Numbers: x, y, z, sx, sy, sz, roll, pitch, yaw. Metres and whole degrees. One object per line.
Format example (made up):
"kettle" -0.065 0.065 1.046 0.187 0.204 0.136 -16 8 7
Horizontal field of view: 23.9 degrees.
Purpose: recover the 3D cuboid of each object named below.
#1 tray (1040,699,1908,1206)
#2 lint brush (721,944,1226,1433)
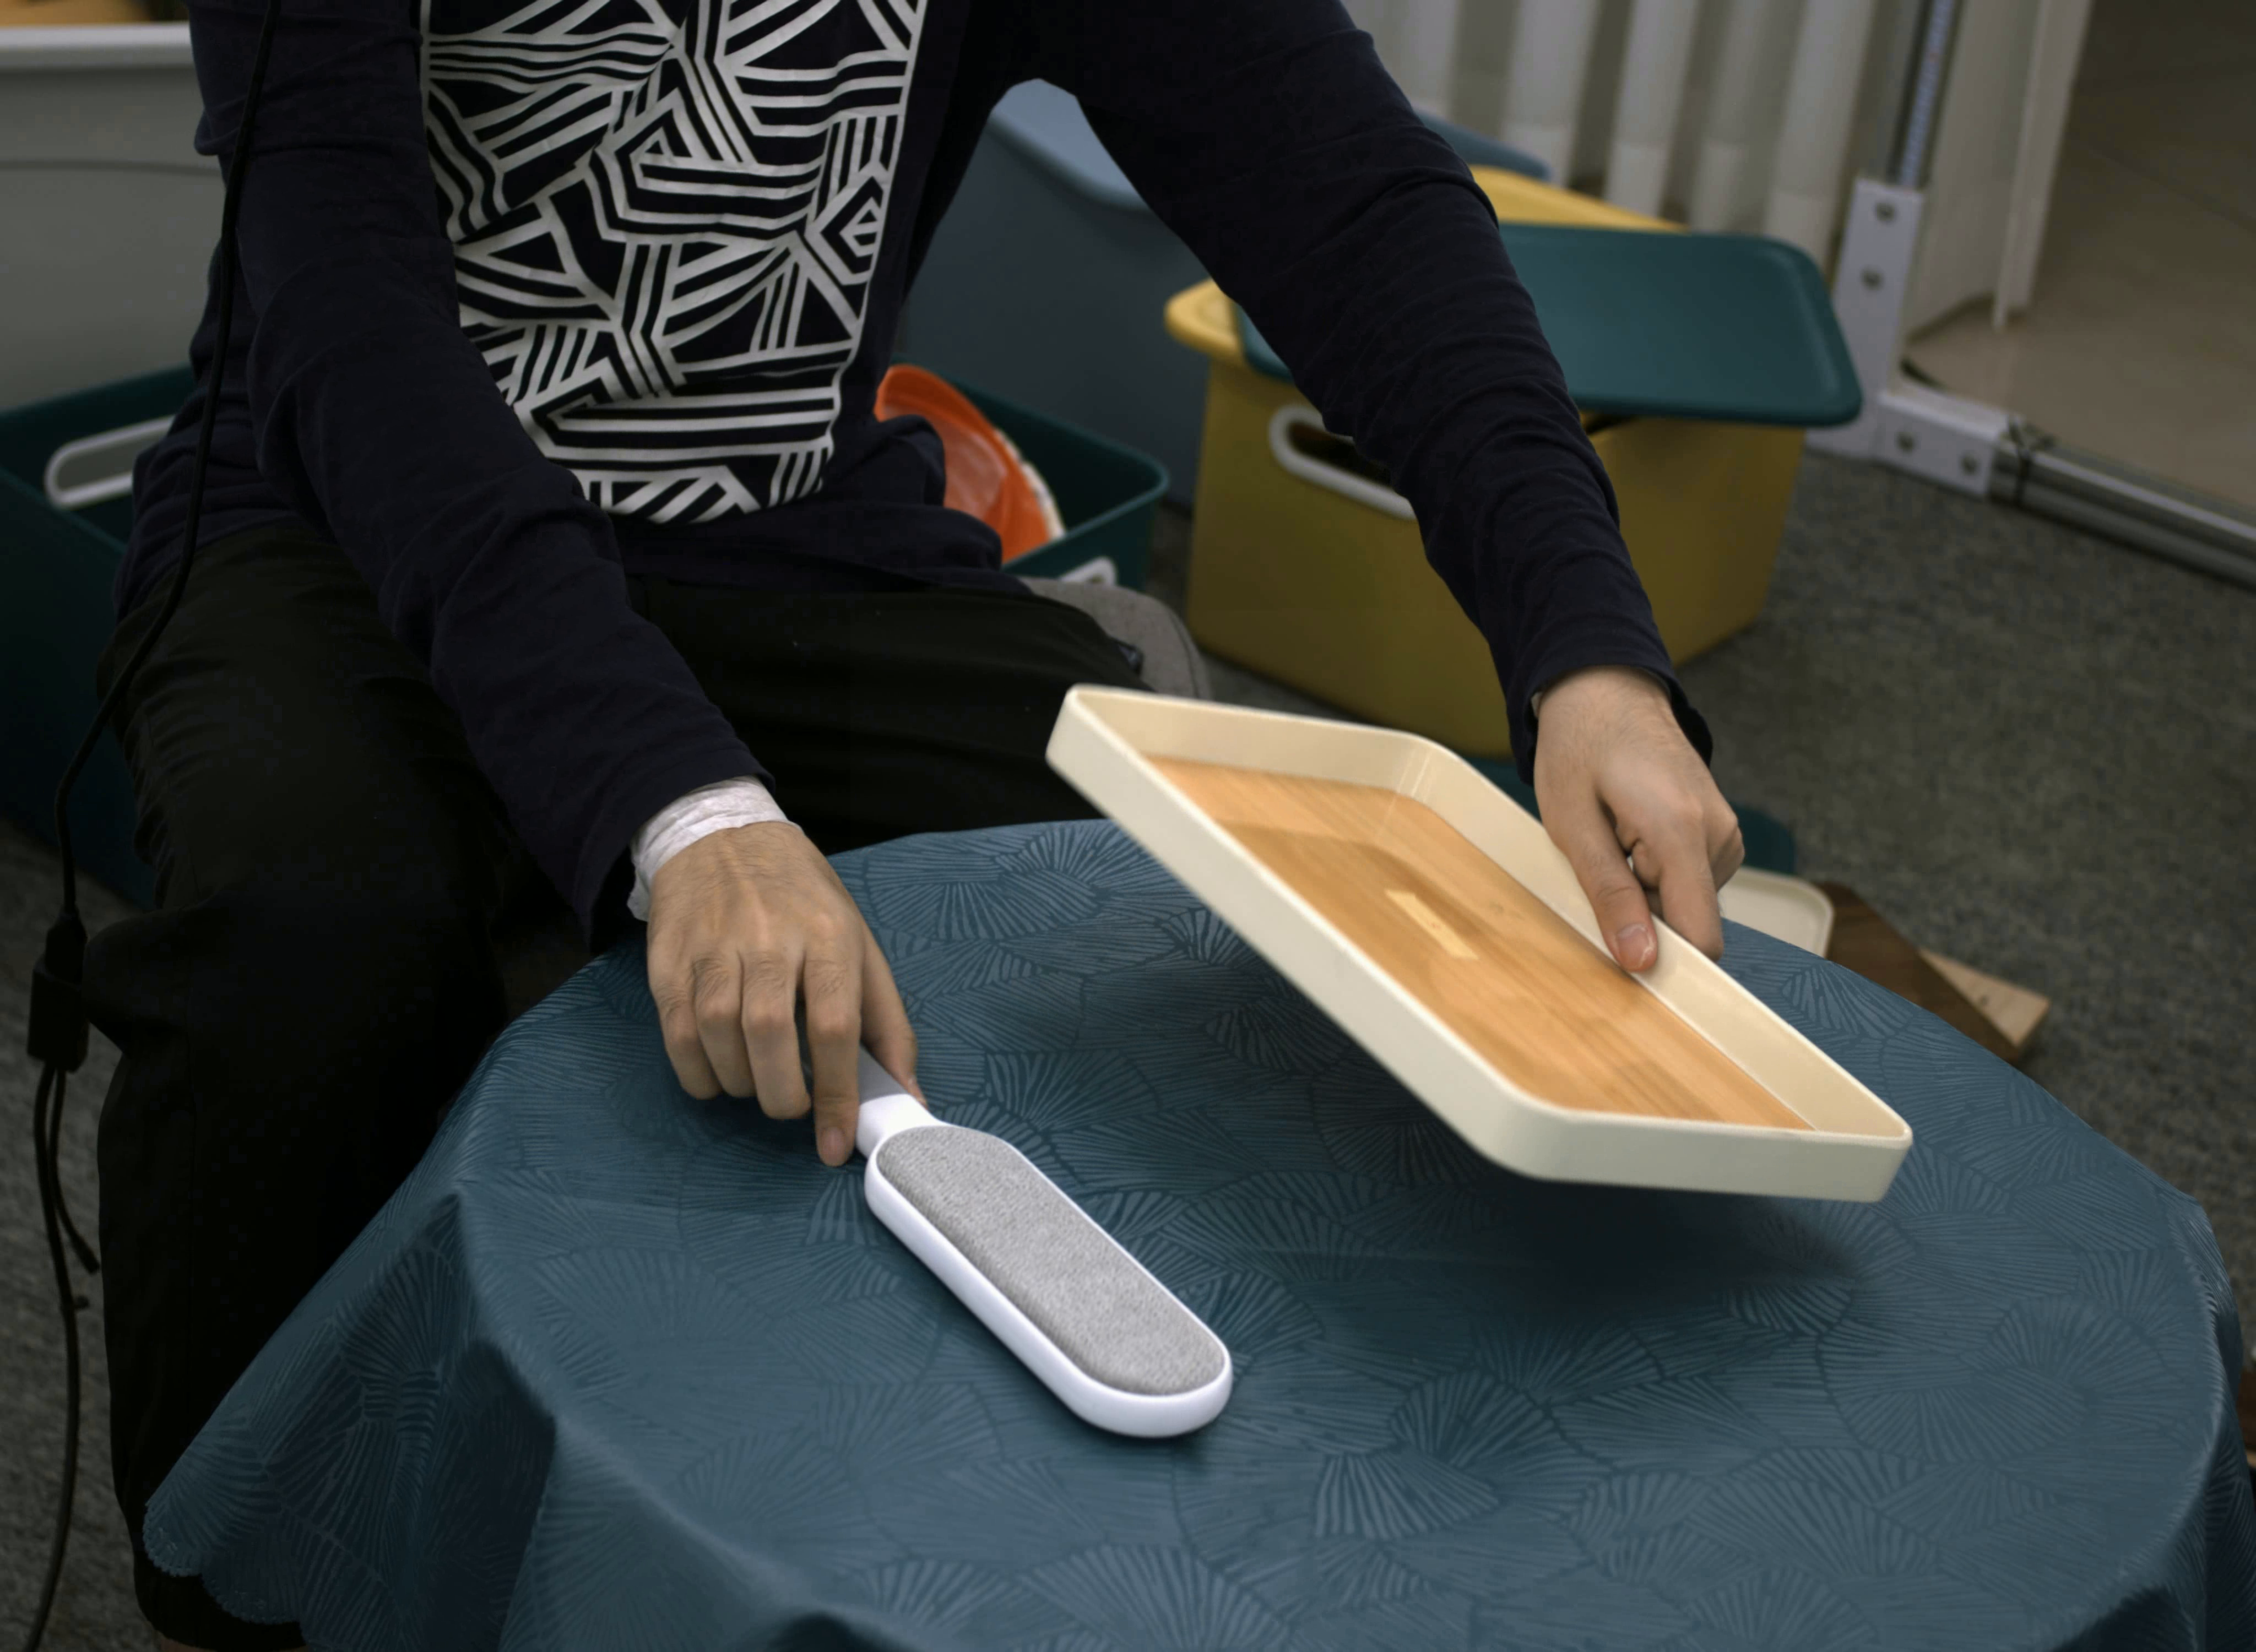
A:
"tray" 0.115 0.042 1.846 0.190 0.027 0.303 8 22 -38
"lint brush" -0.059 0.116 1.778 0.060 0.021 0.312 -15 34 -26
